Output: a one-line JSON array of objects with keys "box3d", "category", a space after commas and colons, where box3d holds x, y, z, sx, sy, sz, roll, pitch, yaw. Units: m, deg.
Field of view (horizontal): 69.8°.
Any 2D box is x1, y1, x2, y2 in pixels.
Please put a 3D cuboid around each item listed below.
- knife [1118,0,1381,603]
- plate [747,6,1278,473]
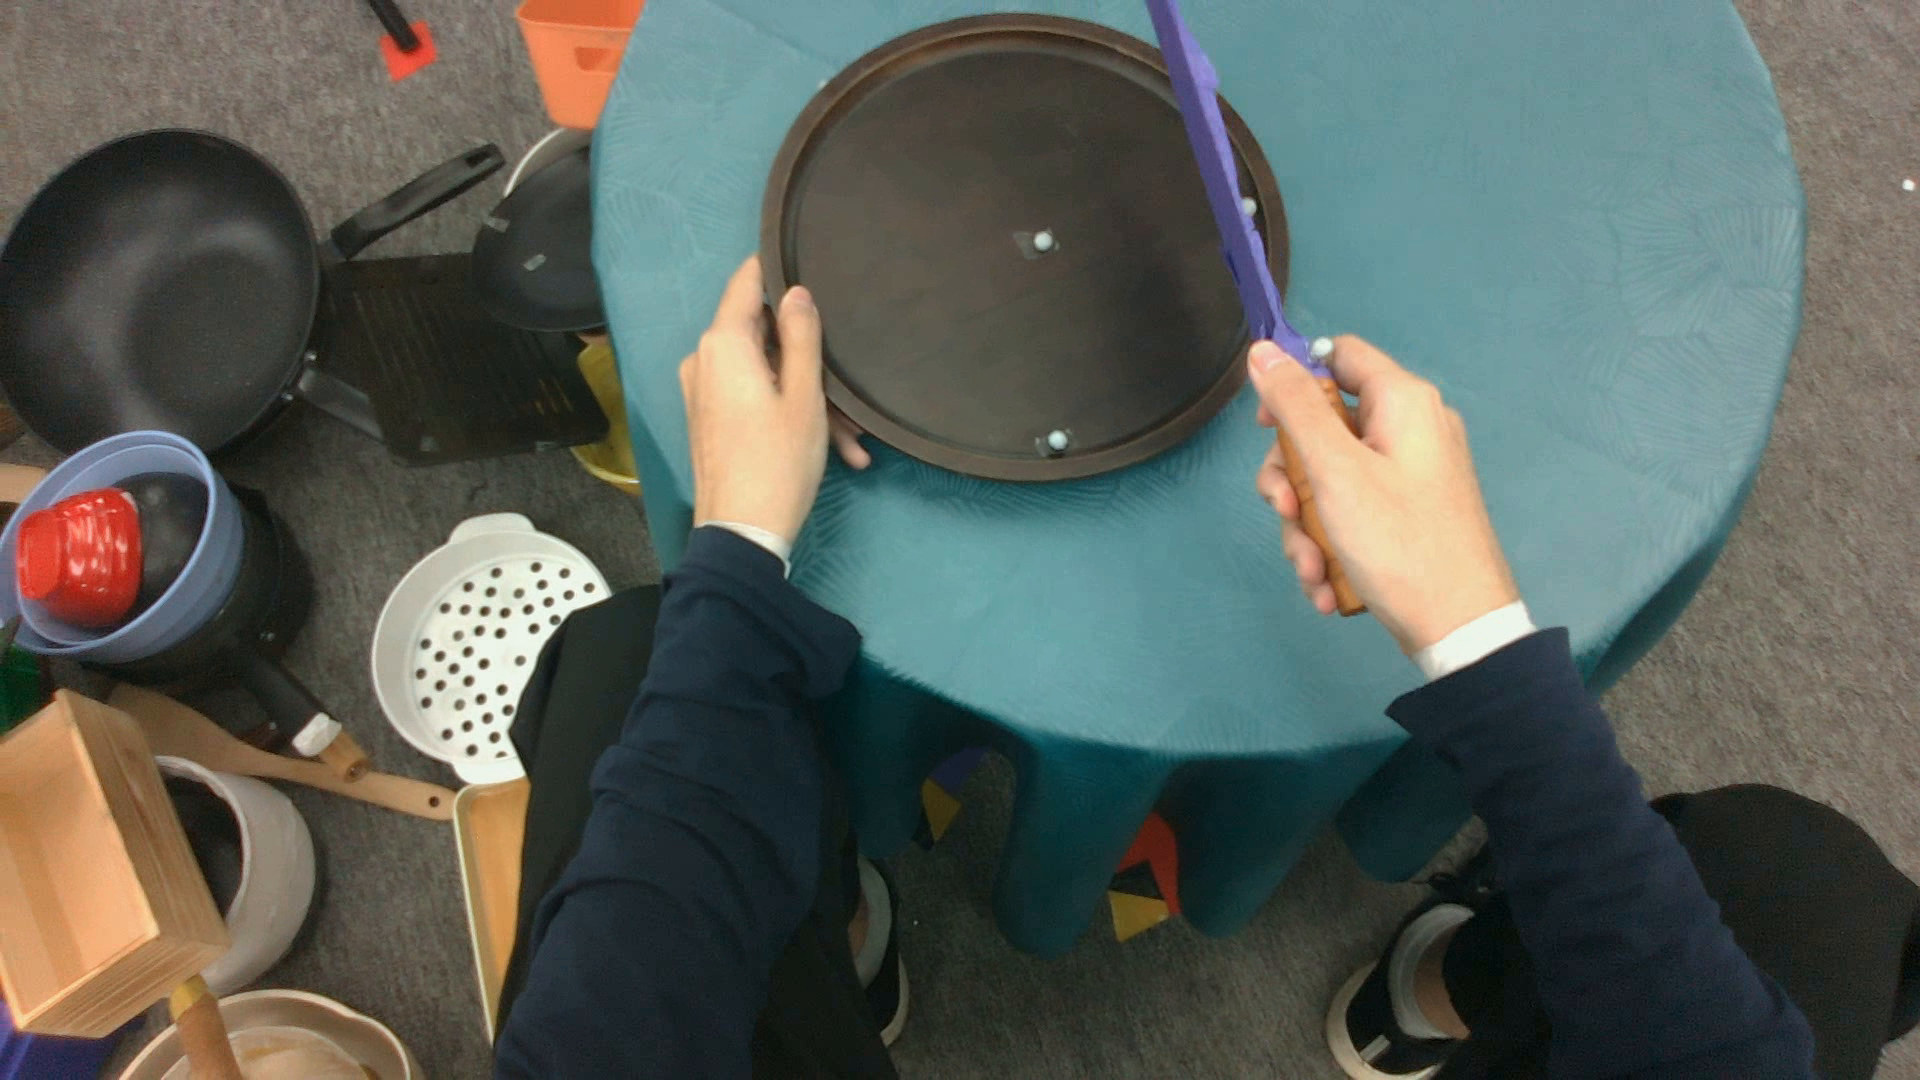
[{"box3d": [0.114, -0.124, 0.583, 0.032, 0.104, 0.315, -15, 78, 6], "category": "knife"}, {"box3d": [0.025, -0.148, 0.663, 0.255, 0.029, 0.255, 1, 70, -3], "category": "plate"}]
